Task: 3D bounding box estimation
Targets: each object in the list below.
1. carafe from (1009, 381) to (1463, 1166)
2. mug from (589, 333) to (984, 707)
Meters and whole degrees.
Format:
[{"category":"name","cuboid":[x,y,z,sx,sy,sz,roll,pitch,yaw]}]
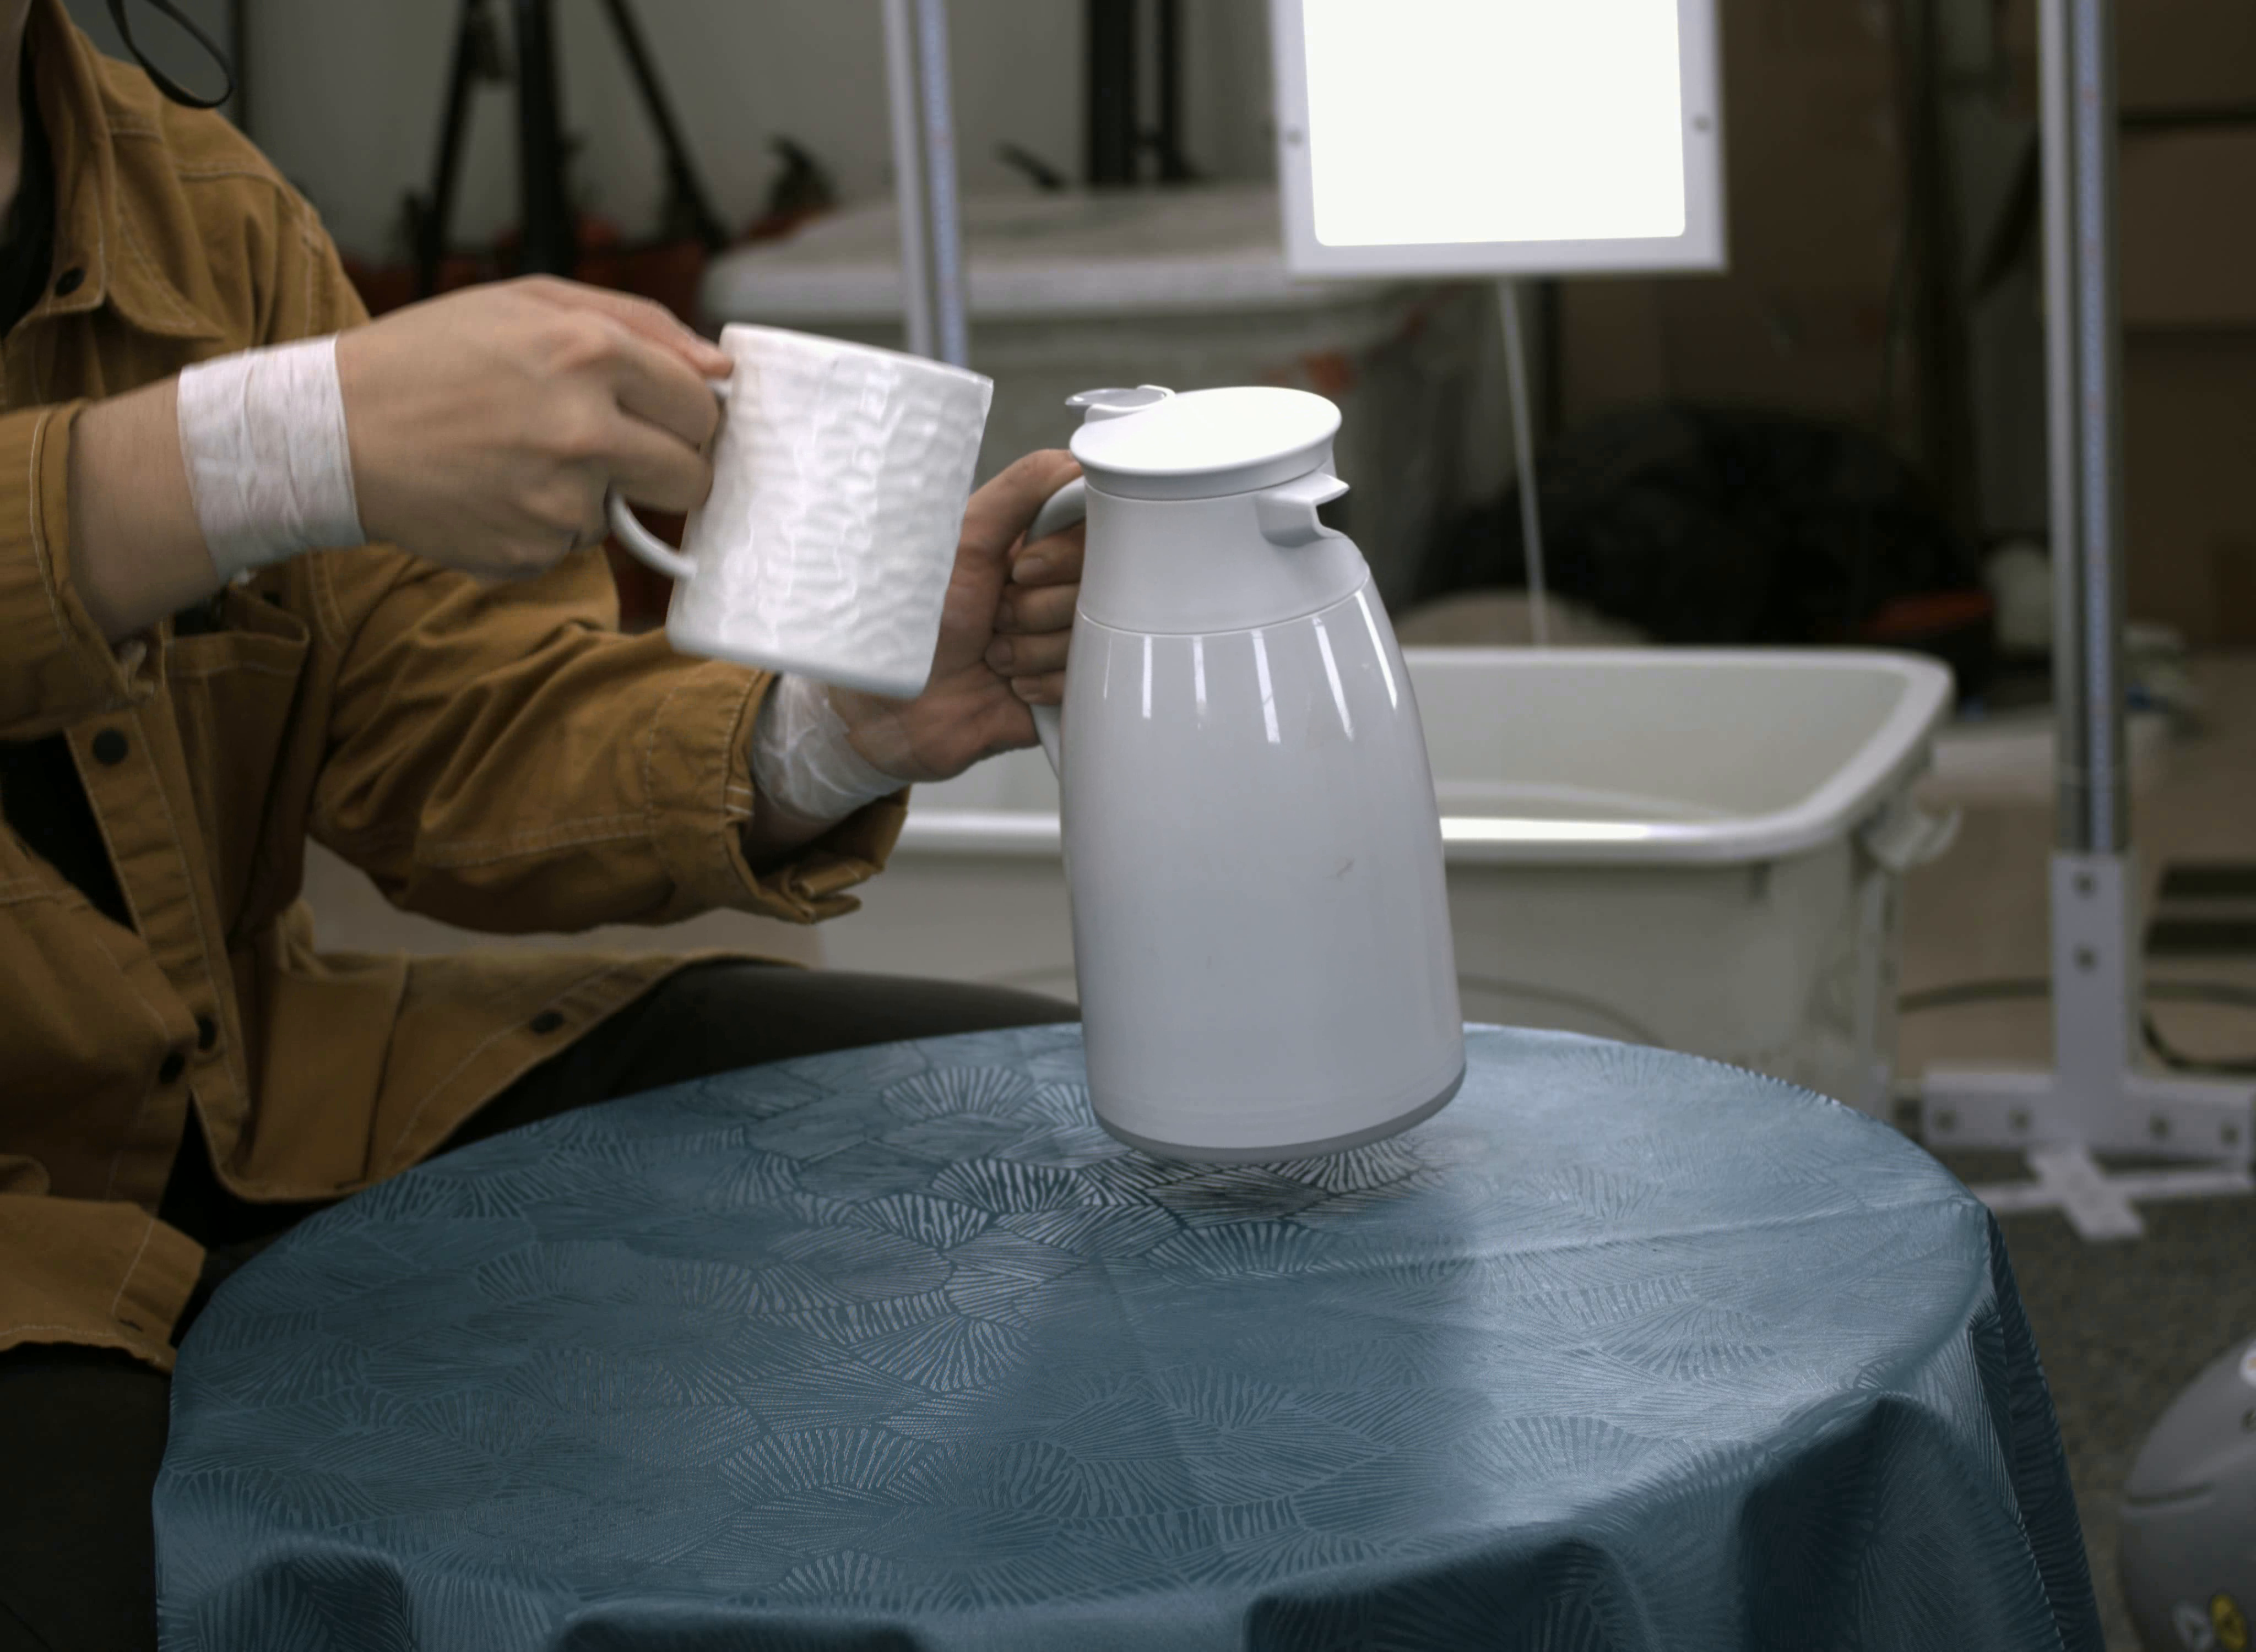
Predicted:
[{"category":"carafe","cuboid":[0.024,-0.027,1.880,0.129,0.249,0.171,-23,25,-36]},{"category":"mug","cuboid":[-0.110,-0.097,1.699,0.116,0.102,0.086,11,2,-25]}]
